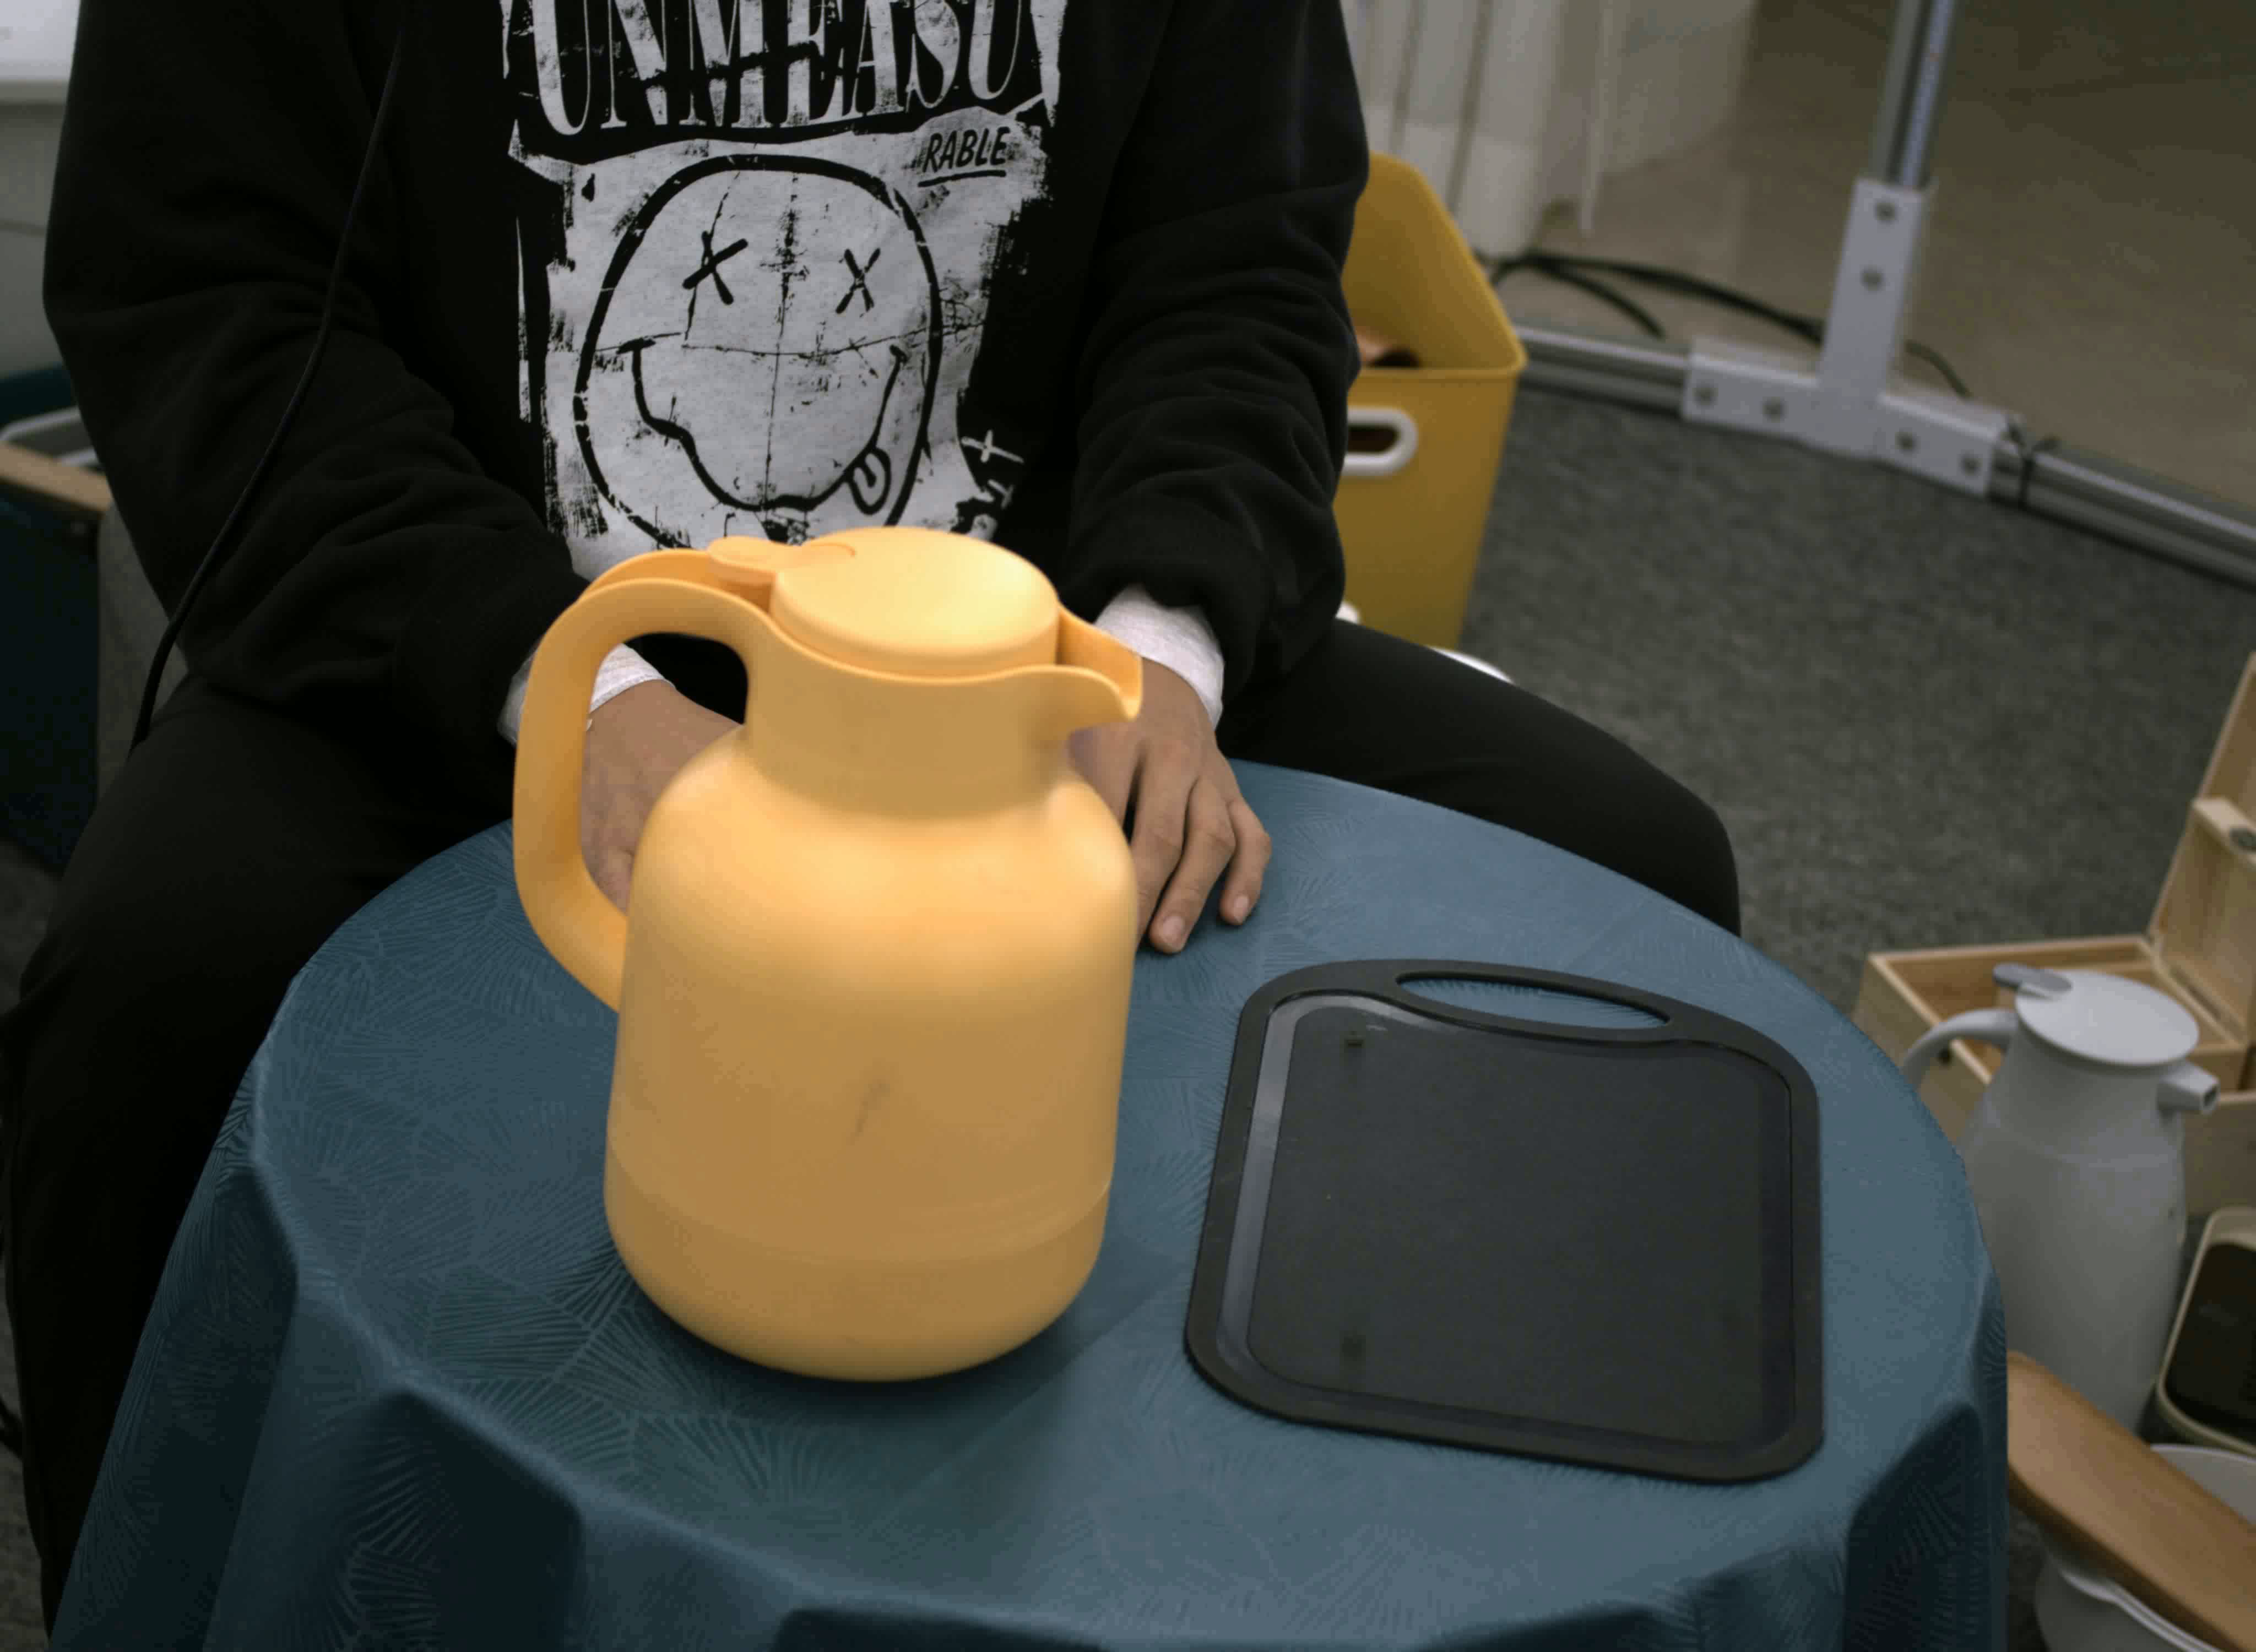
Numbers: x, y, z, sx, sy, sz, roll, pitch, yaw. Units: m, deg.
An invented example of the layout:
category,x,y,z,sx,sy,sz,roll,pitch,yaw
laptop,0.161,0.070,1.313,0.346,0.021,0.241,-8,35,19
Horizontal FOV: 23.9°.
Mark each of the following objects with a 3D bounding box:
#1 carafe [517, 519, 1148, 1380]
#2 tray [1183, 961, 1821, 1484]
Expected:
category,x,y,z,sx,sy,sz,roll,pitch,yaw
carafe,-0.097,0.029,1.681,0.202,0.260,0.163,15,25,13
tray,0.133,0.125,1.826,0.211,0.010,0.327,9,27,3
